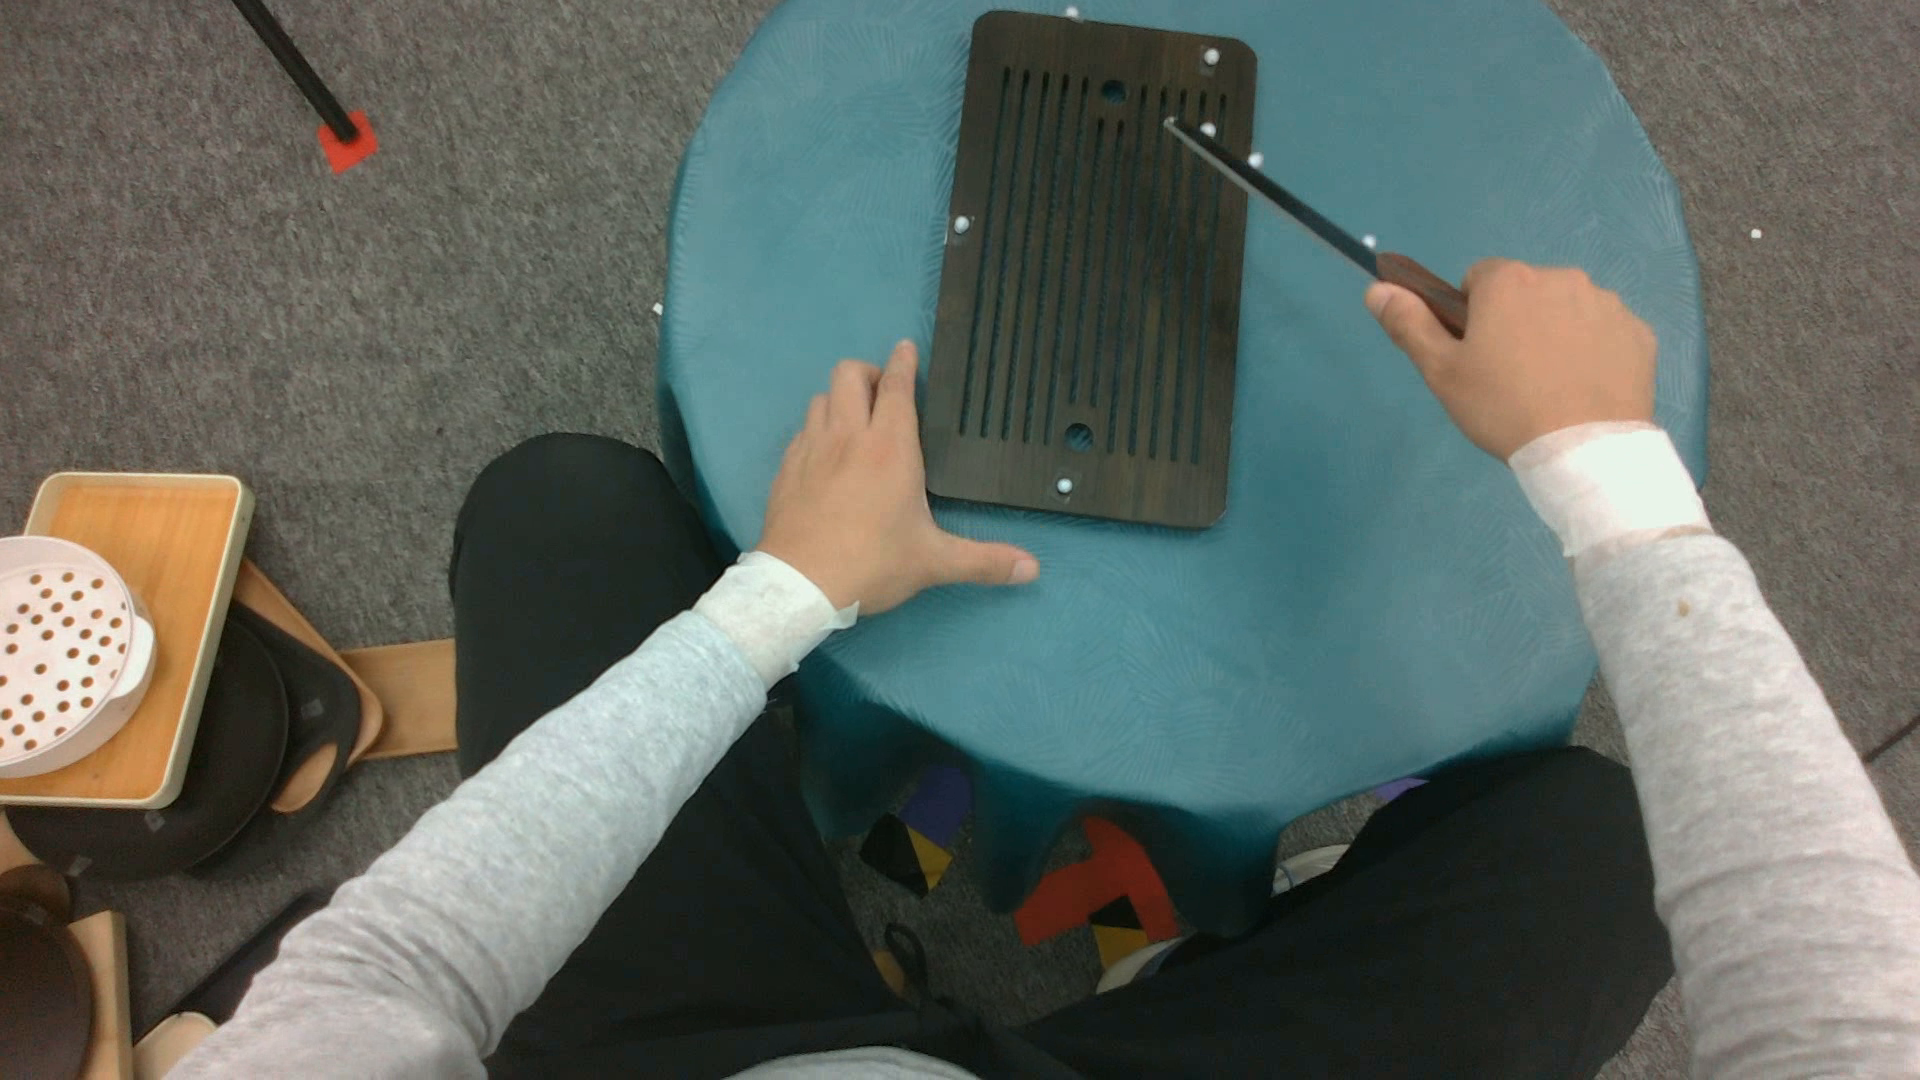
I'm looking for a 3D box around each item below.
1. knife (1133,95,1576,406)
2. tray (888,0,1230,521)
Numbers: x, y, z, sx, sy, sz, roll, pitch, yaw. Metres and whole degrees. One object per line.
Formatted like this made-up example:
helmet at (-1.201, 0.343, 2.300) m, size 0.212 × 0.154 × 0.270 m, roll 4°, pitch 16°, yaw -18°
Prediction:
knife at (0.184, -0.154, 0.689) m, size 0.020 × 0.050 × 0.289 m, roll -48°, pitch 61°, yaw 6°
tray at (0.060, -0.164, 0.782) m, size 0.170 × 0.018 × 0.306 m, roll 7°, pitch 74°, yaw -2°
